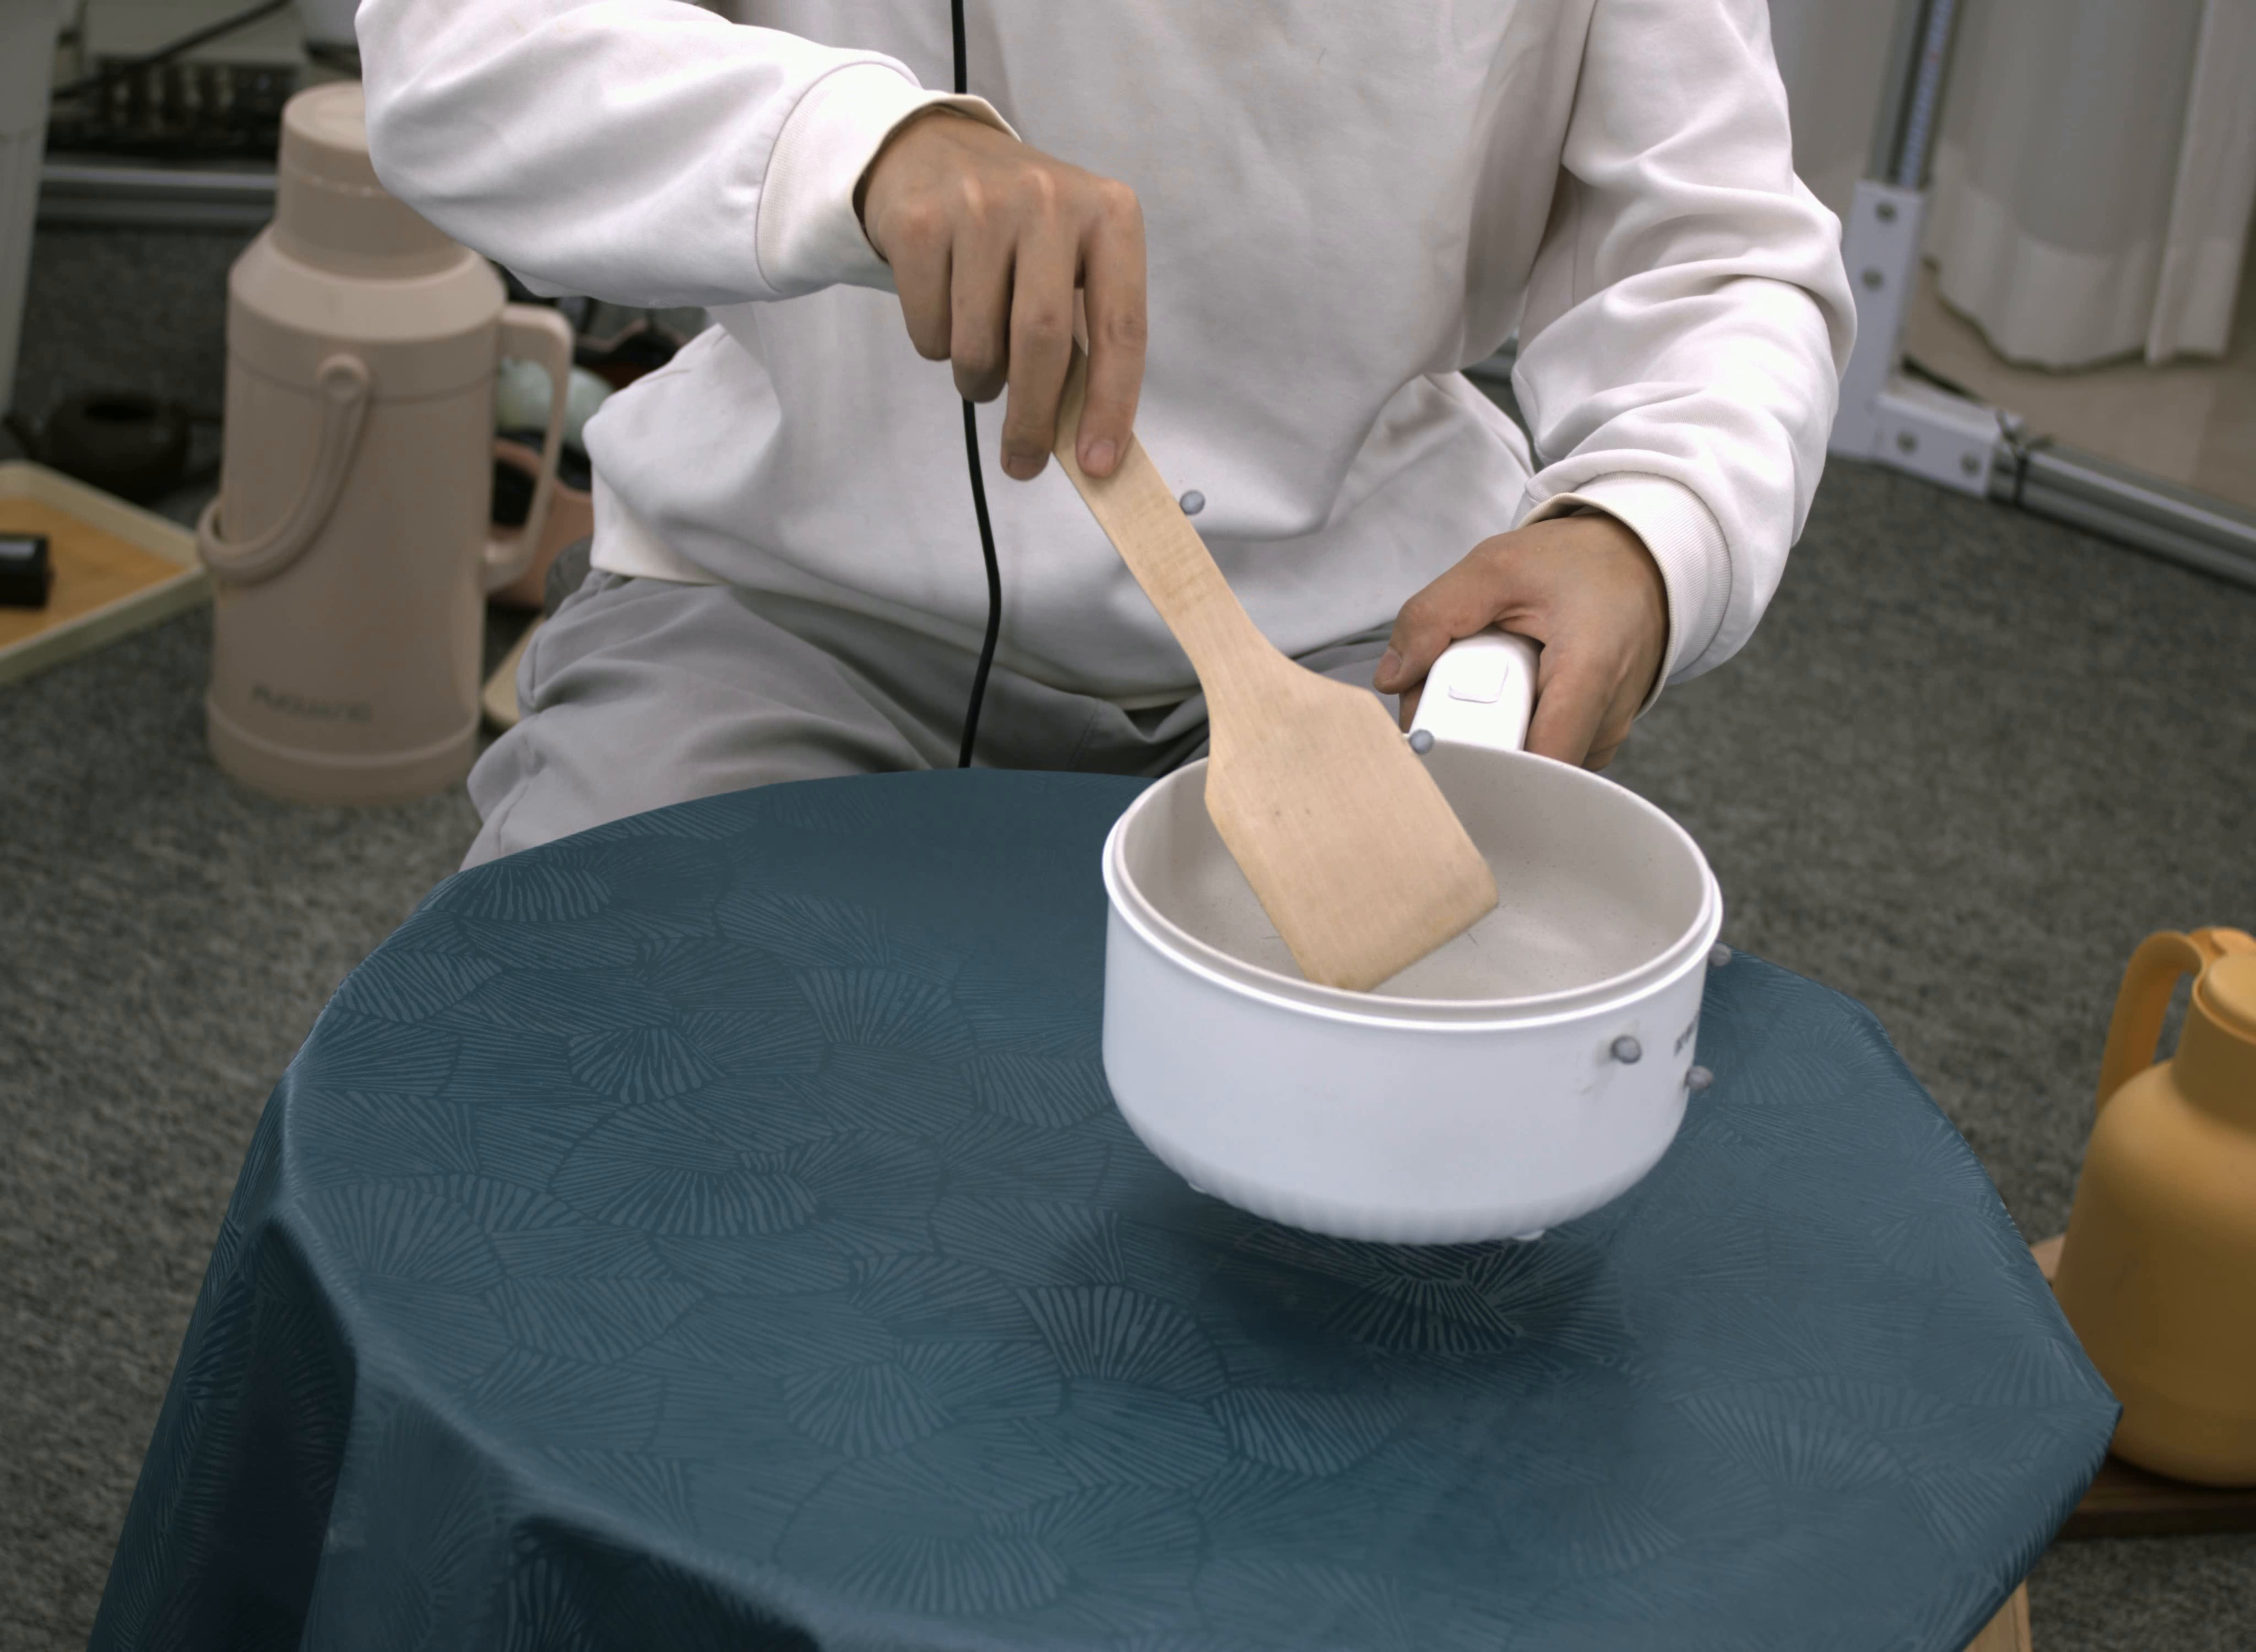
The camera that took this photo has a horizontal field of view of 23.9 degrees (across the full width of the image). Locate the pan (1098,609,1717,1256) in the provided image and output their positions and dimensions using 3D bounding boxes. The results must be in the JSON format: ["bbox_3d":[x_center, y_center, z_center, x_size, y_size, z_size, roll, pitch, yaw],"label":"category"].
[{"bbox_3d":[0.105,0.033,1.816,0.201,0.102,0.356,4,24,10],"label":"pan"}]
